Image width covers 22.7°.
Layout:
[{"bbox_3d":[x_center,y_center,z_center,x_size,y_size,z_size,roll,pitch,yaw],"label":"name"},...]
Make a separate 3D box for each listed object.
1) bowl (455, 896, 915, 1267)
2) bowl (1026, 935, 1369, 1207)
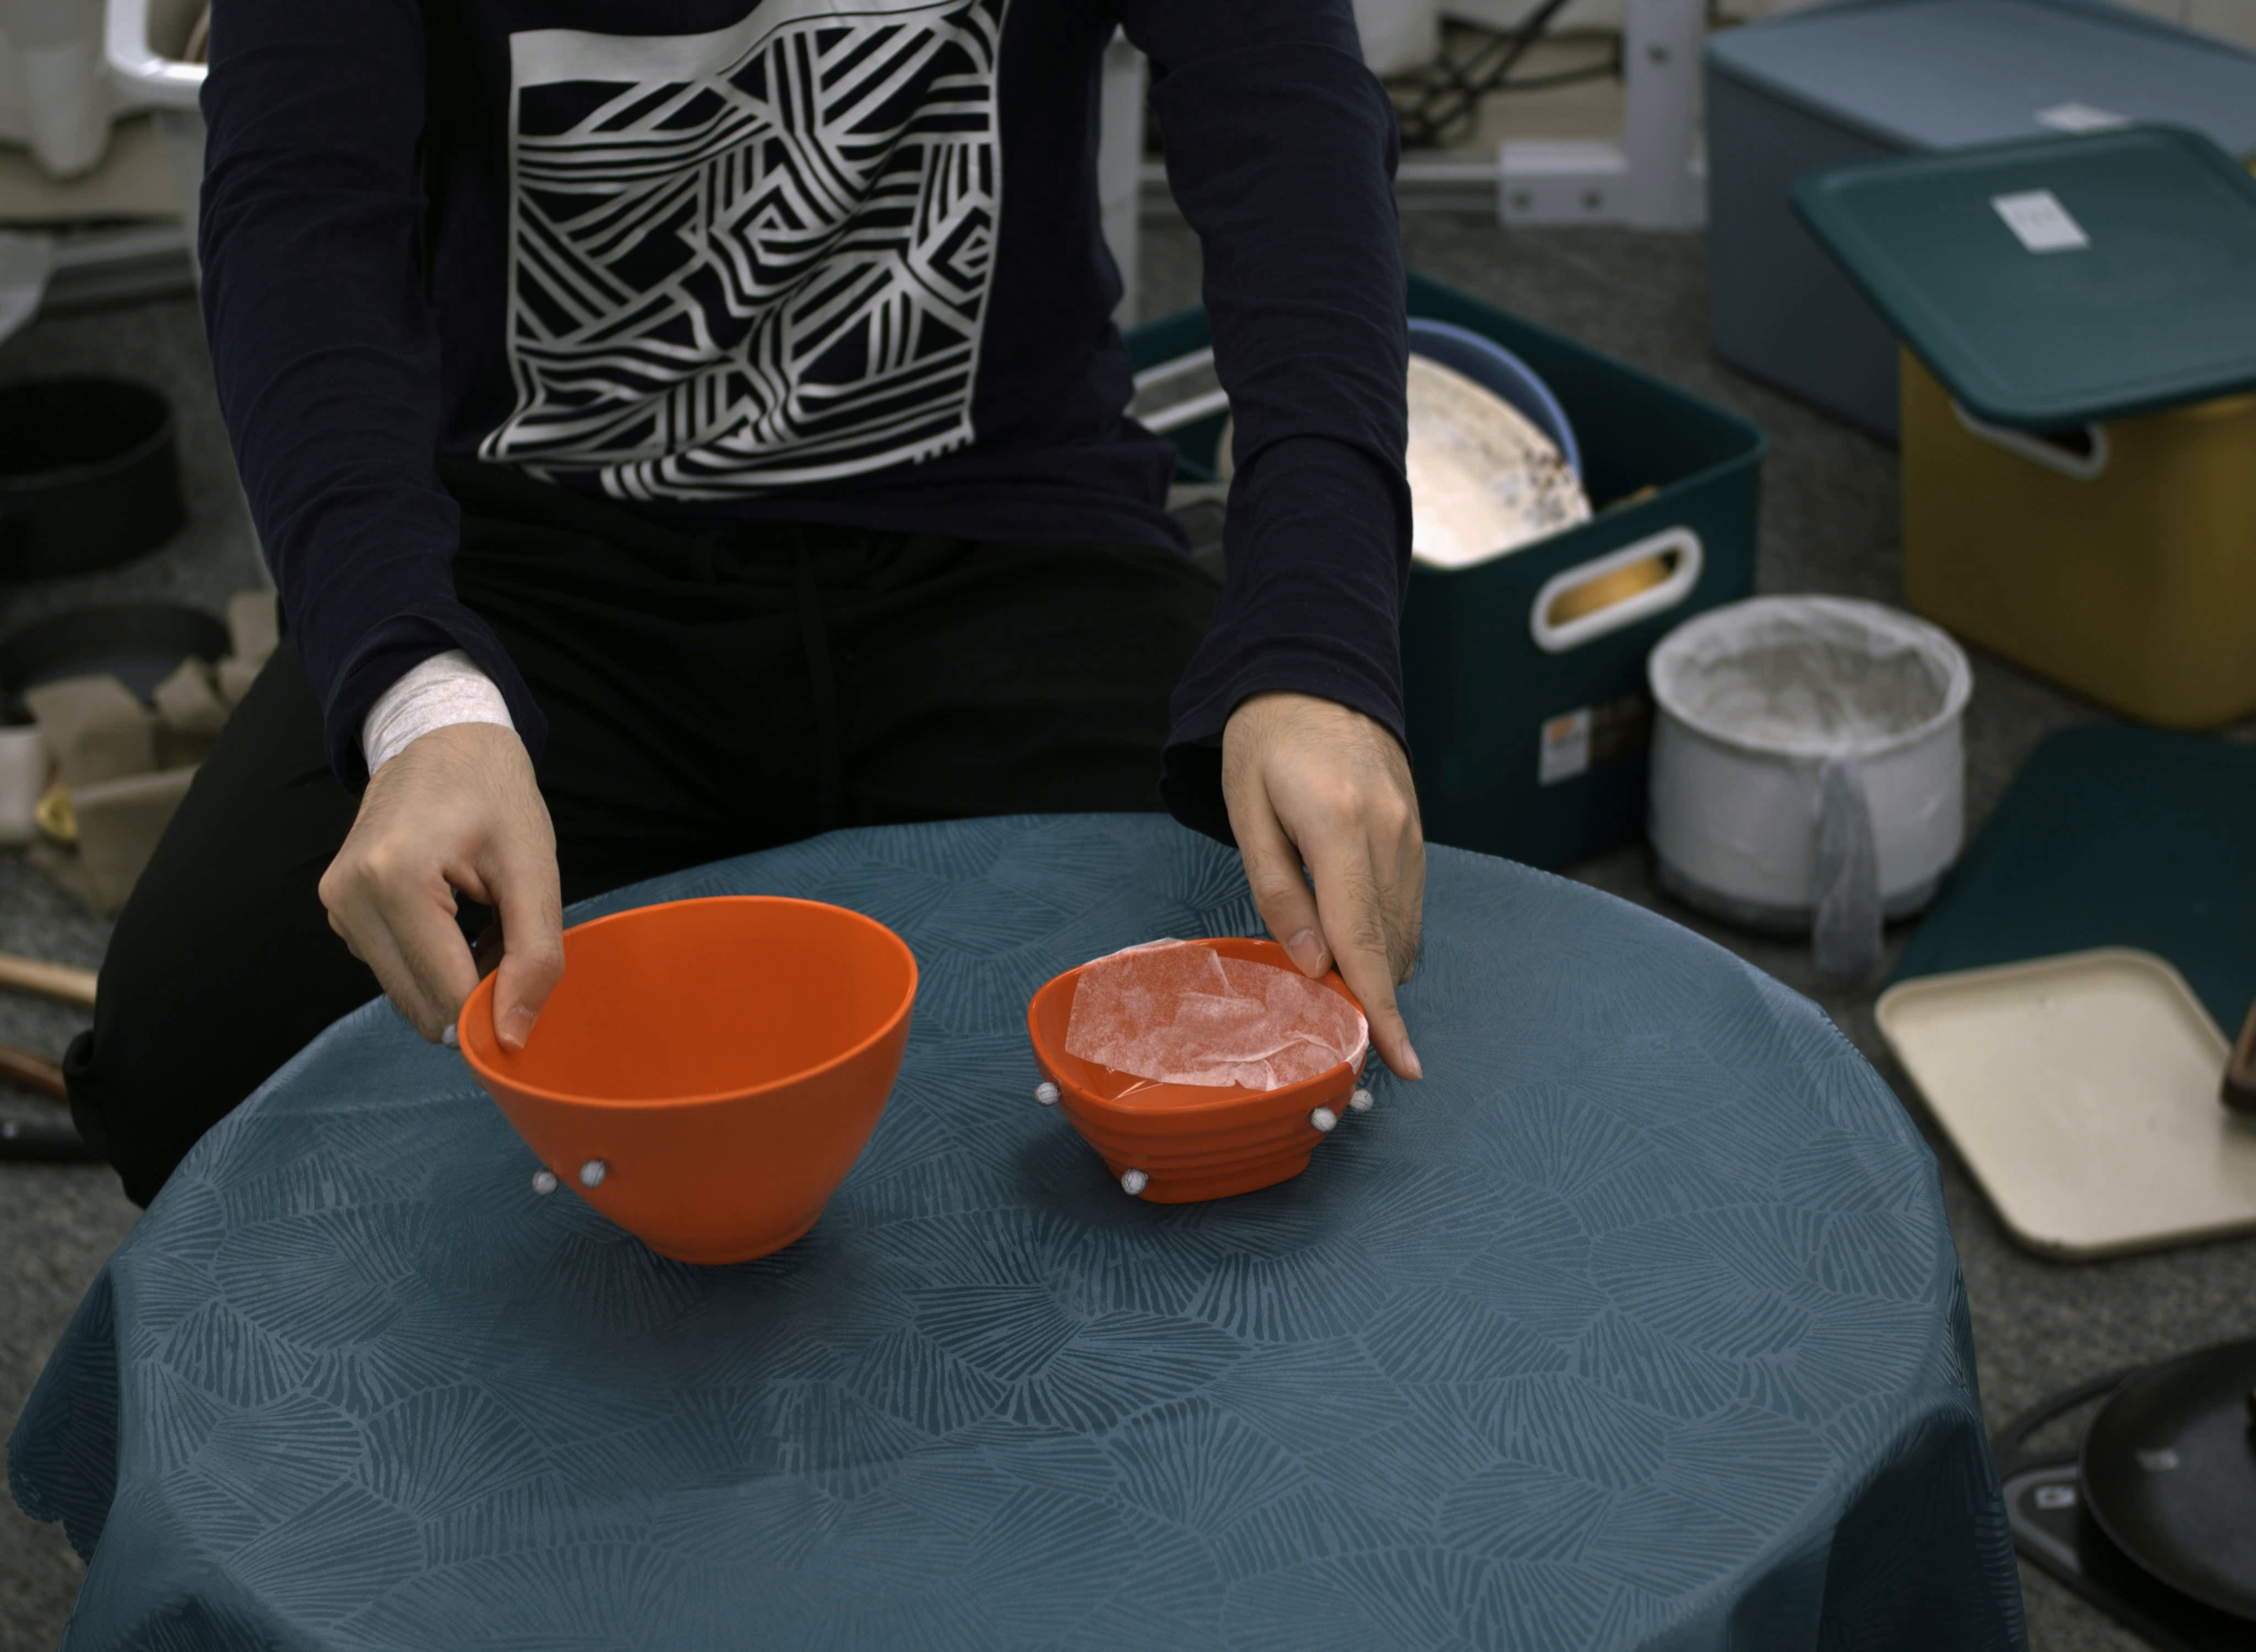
[{"bbox_3d":[-0.136,0.088,1.806,0.147,0.103,0.150,-5,31,3],"label":"bowl"},{"bbox_3d":[0.024,0.086,1.874,0.118,0.051,0.121,-4,27,2],"label":"bowl"}]
